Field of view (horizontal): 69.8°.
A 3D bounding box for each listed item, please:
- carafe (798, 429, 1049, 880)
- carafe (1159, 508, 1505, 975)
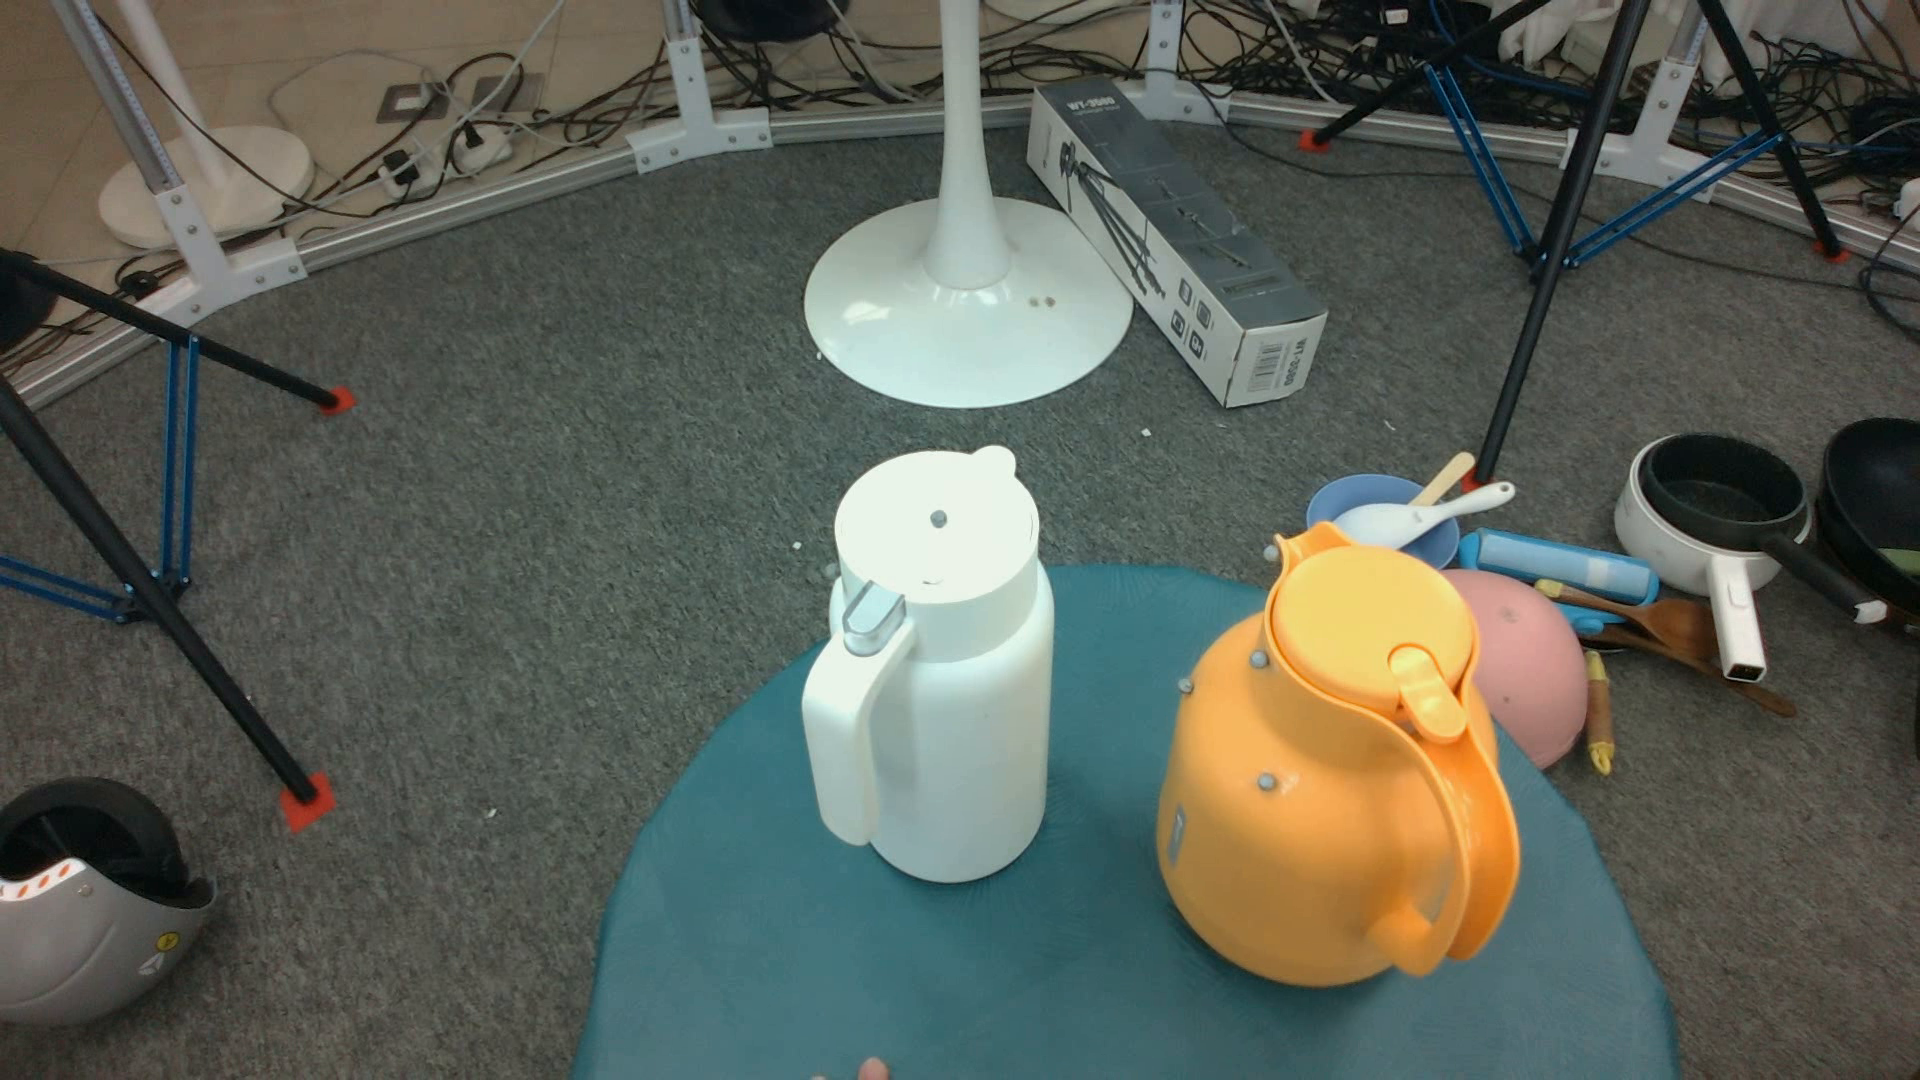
[{"bbox_3d":[-0.019,0.087,0.745,0.124,0.267,0.173,23,53,17],"label":"carafe"},{"bbox_3d":[0.196,0.123,0.713,0.163,0.259,0.203,-15,49,-8],"label":"carafe"}]
